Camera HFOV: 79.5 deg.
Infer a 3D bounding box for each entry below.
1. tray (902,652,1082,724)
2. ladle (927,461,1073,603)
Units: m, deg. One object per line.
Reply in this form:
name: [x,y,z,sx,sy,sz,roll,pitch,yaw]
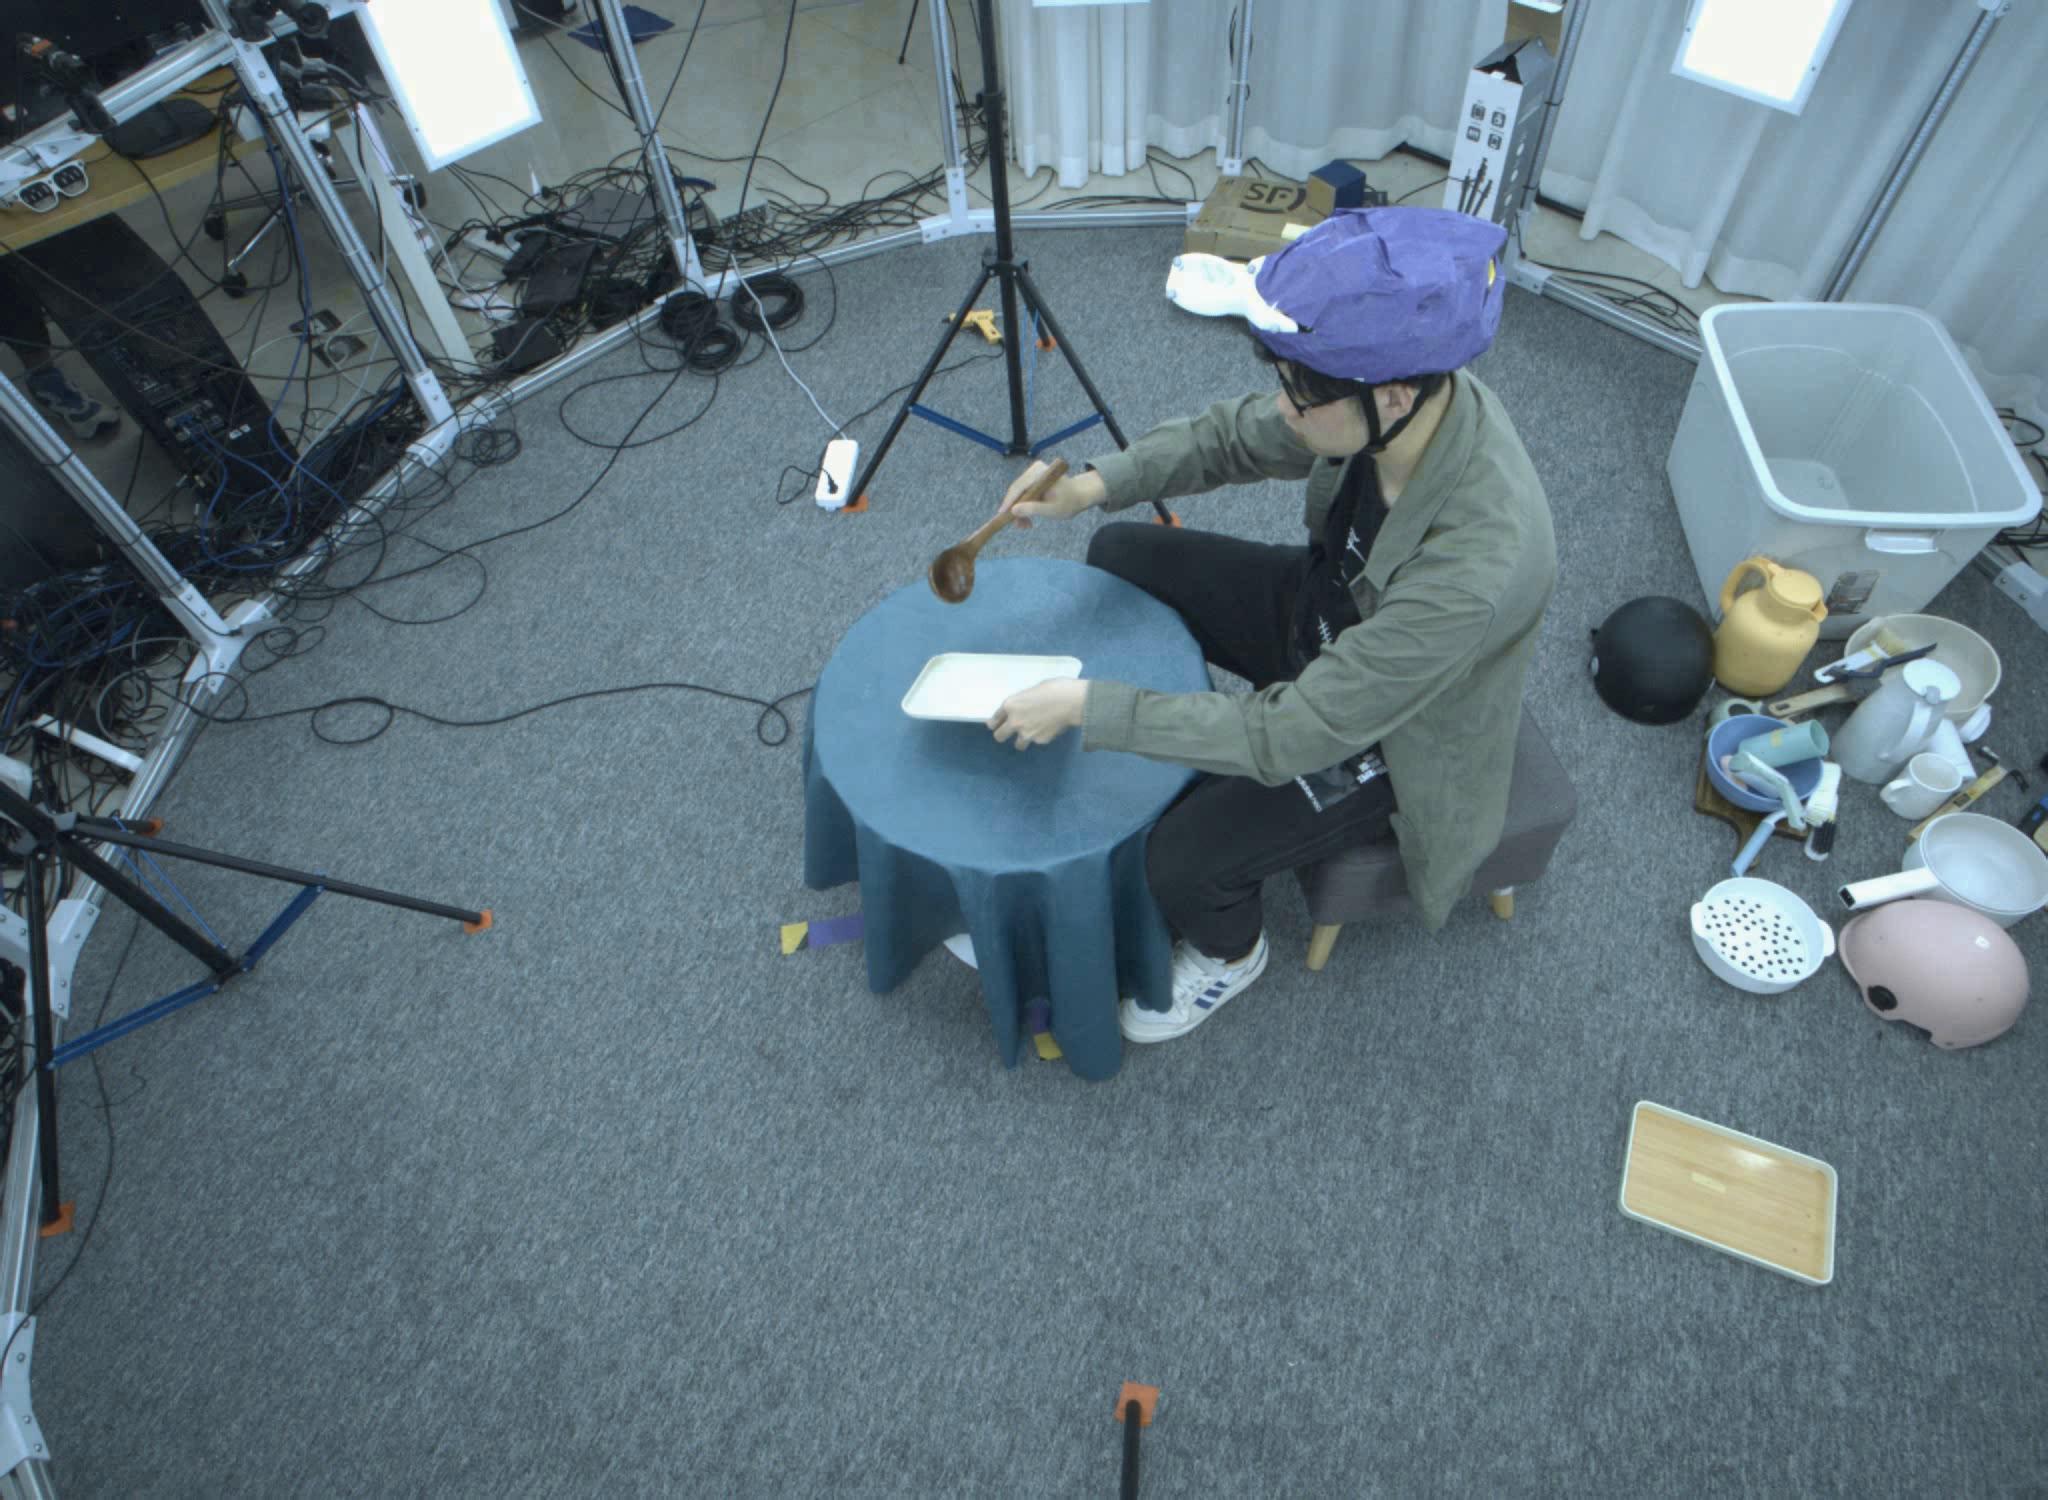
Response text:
tray: [-0.044,-0.089,1.764,0.237,0.018,0.171,4,36,15]
ladle: [-0.033,-0.315,1.780,0.271,0.084,0.075,-34,54,24]
